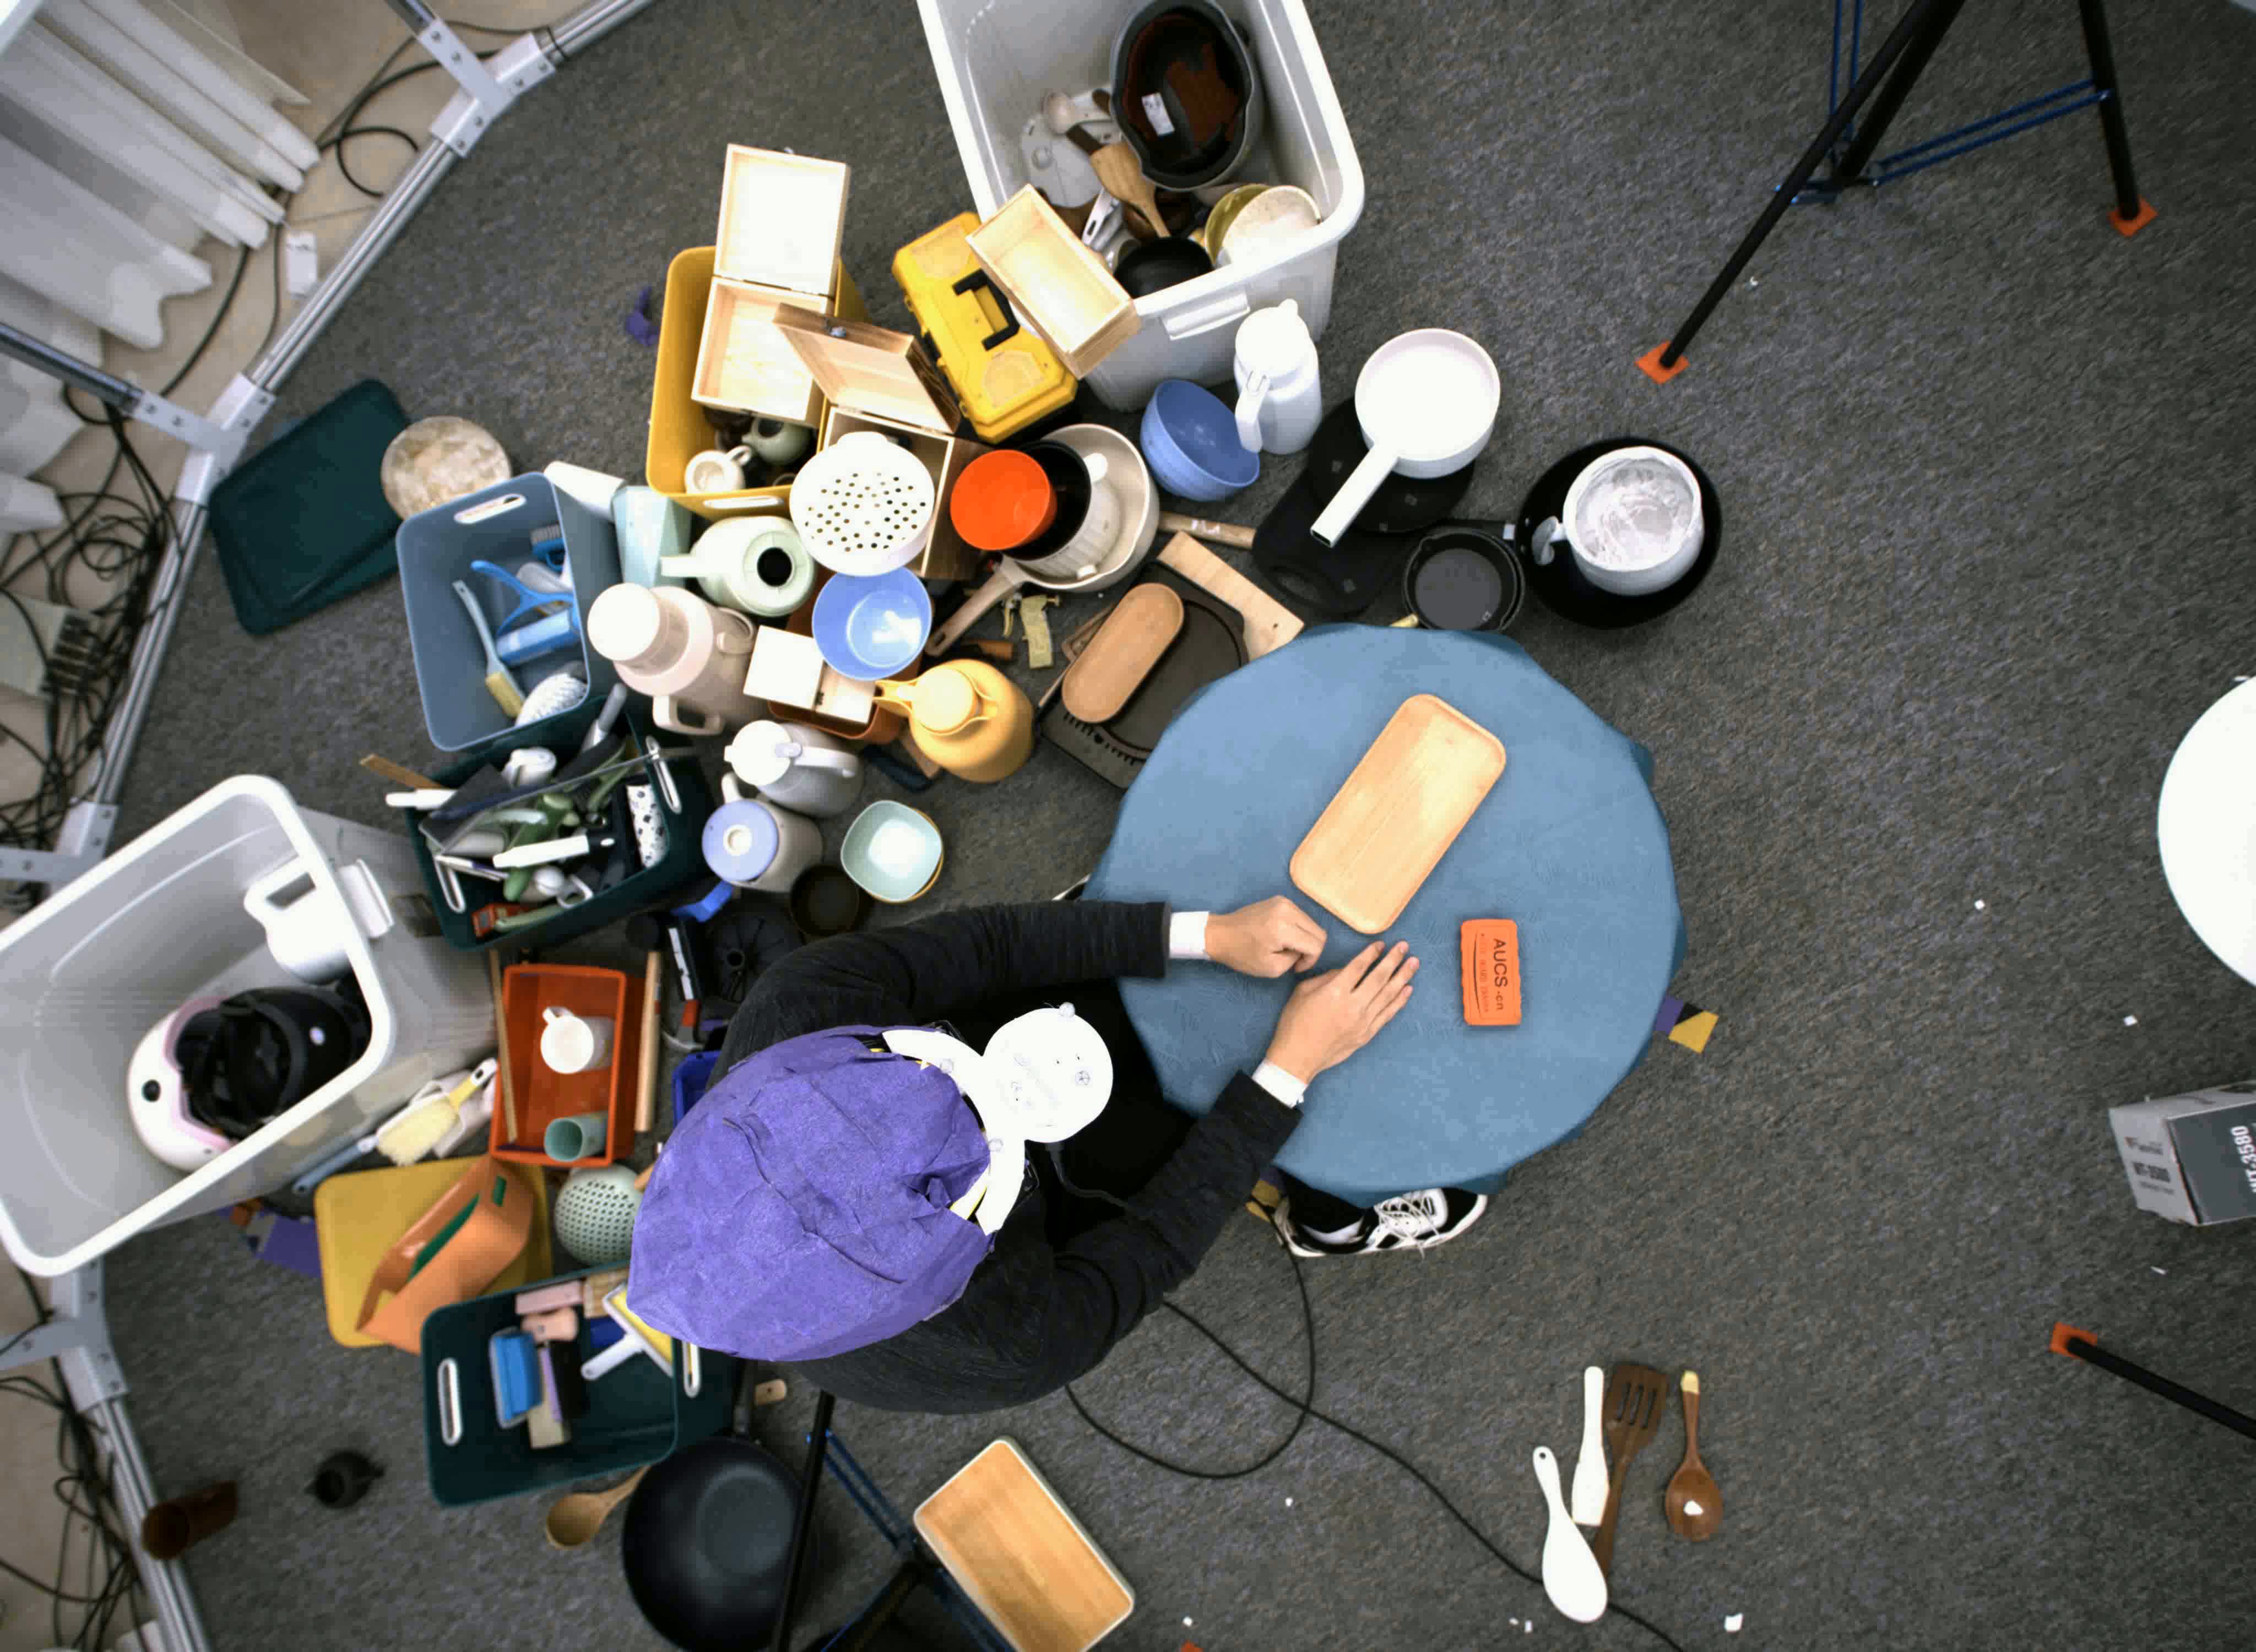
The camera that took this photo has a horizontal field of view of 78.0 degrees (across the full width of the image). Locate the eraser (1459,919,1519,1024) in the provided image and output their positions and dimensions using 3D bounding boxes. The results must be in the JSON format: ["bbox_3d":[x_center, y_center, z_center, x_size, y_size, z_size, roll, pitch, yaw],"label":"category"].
[{"bbox_3d":[0.374,0.149,1.424,0.059,0.023,0.107,-1,86,10],"label":"eraser"}]

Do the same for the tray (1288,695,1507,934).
[{"bbox_3d":[0.283,-0.014,1.453,0.130,0.023,0.251,38,94,13],"label":"tray"}]
